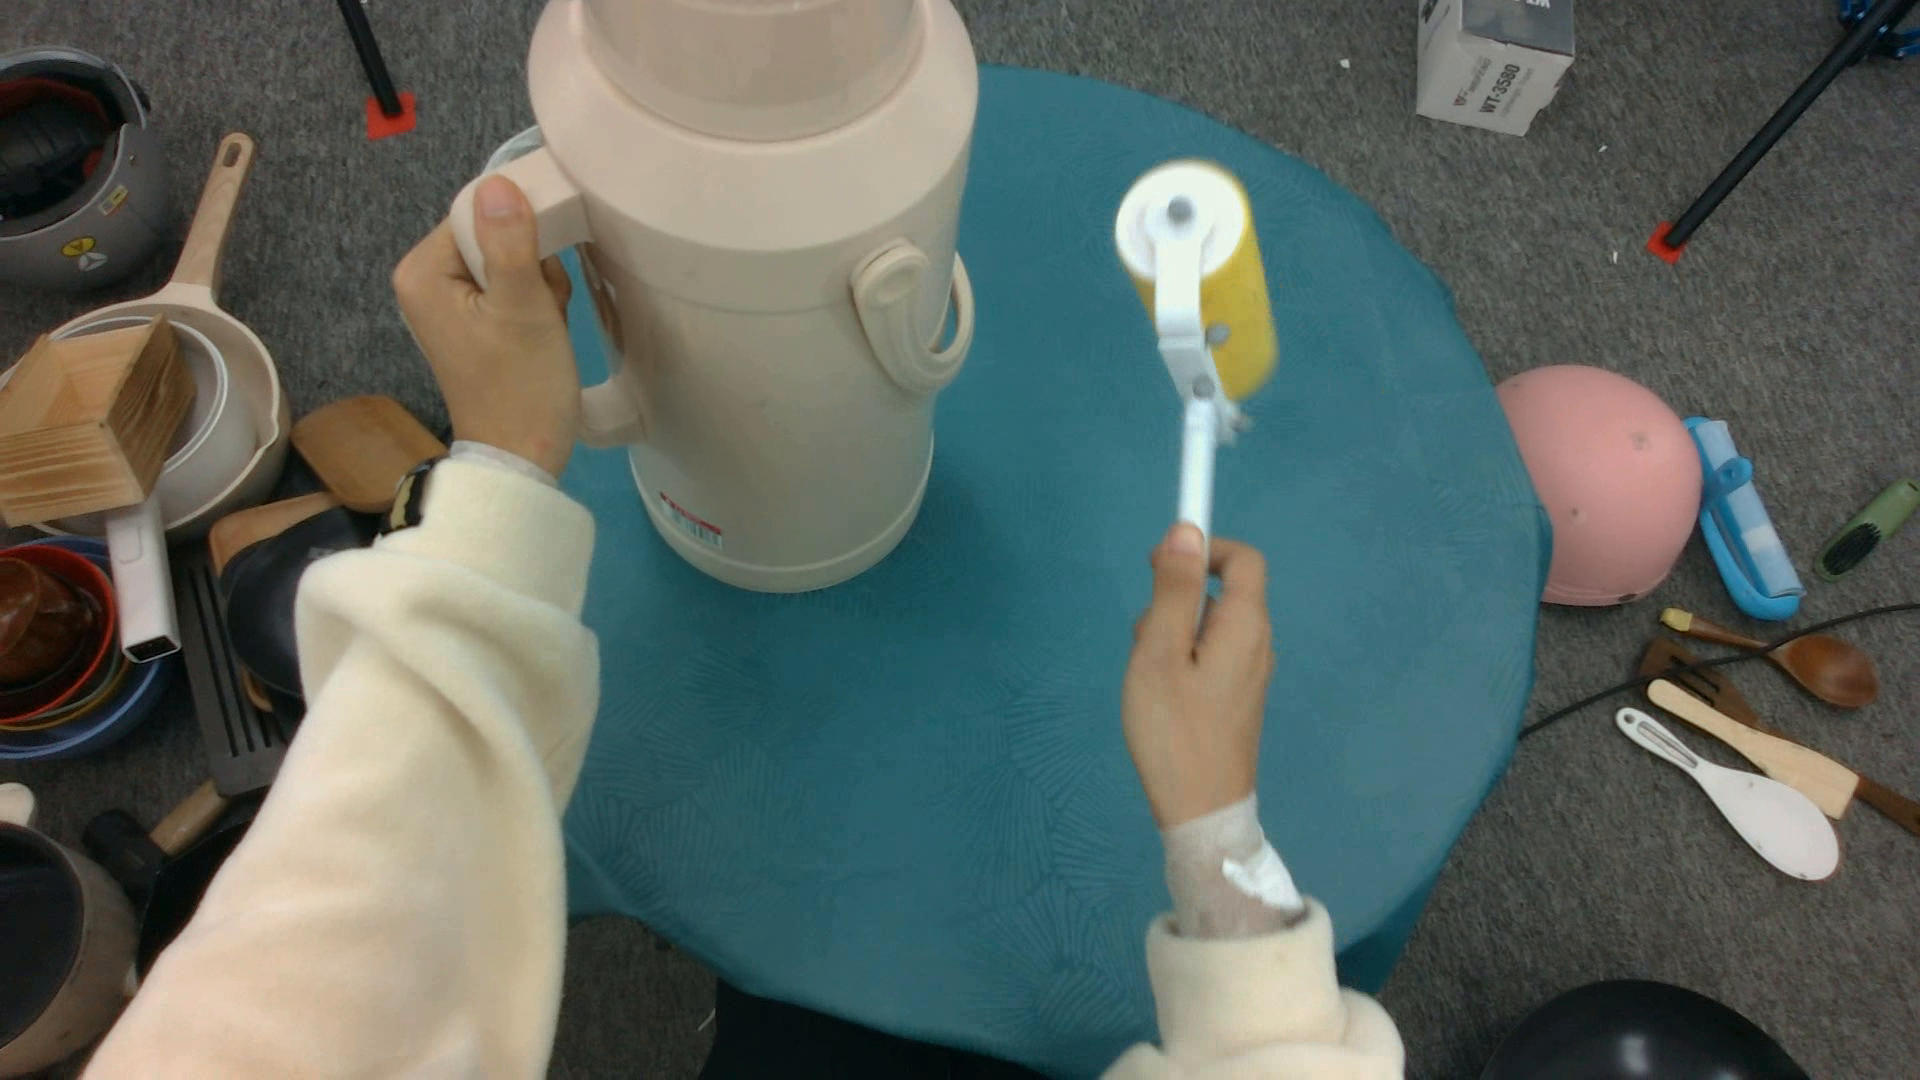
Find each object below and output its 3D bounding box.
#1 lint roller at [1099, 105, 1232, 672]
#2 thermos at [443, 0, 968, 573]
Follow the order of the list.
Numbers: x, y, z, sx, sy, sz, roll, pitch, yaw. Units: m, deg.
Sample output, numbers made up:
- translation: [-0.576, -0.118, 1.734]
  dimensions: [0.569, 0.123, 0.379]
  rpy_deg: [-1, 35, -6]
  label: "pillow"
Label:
- translation: [0.093, -0.047, 0.541]
  dimensions: [0.051, 0.174, 0.192]
  rpy_deg: [-11, 80, 7]
  label: "lint roller"
- translation: [-0.095, -0.128, 0.570]
  dimensions: [0.207, 0.404, 0.175]
  rpy_deg: [-32, 73, -18]
  label: "thermos"
